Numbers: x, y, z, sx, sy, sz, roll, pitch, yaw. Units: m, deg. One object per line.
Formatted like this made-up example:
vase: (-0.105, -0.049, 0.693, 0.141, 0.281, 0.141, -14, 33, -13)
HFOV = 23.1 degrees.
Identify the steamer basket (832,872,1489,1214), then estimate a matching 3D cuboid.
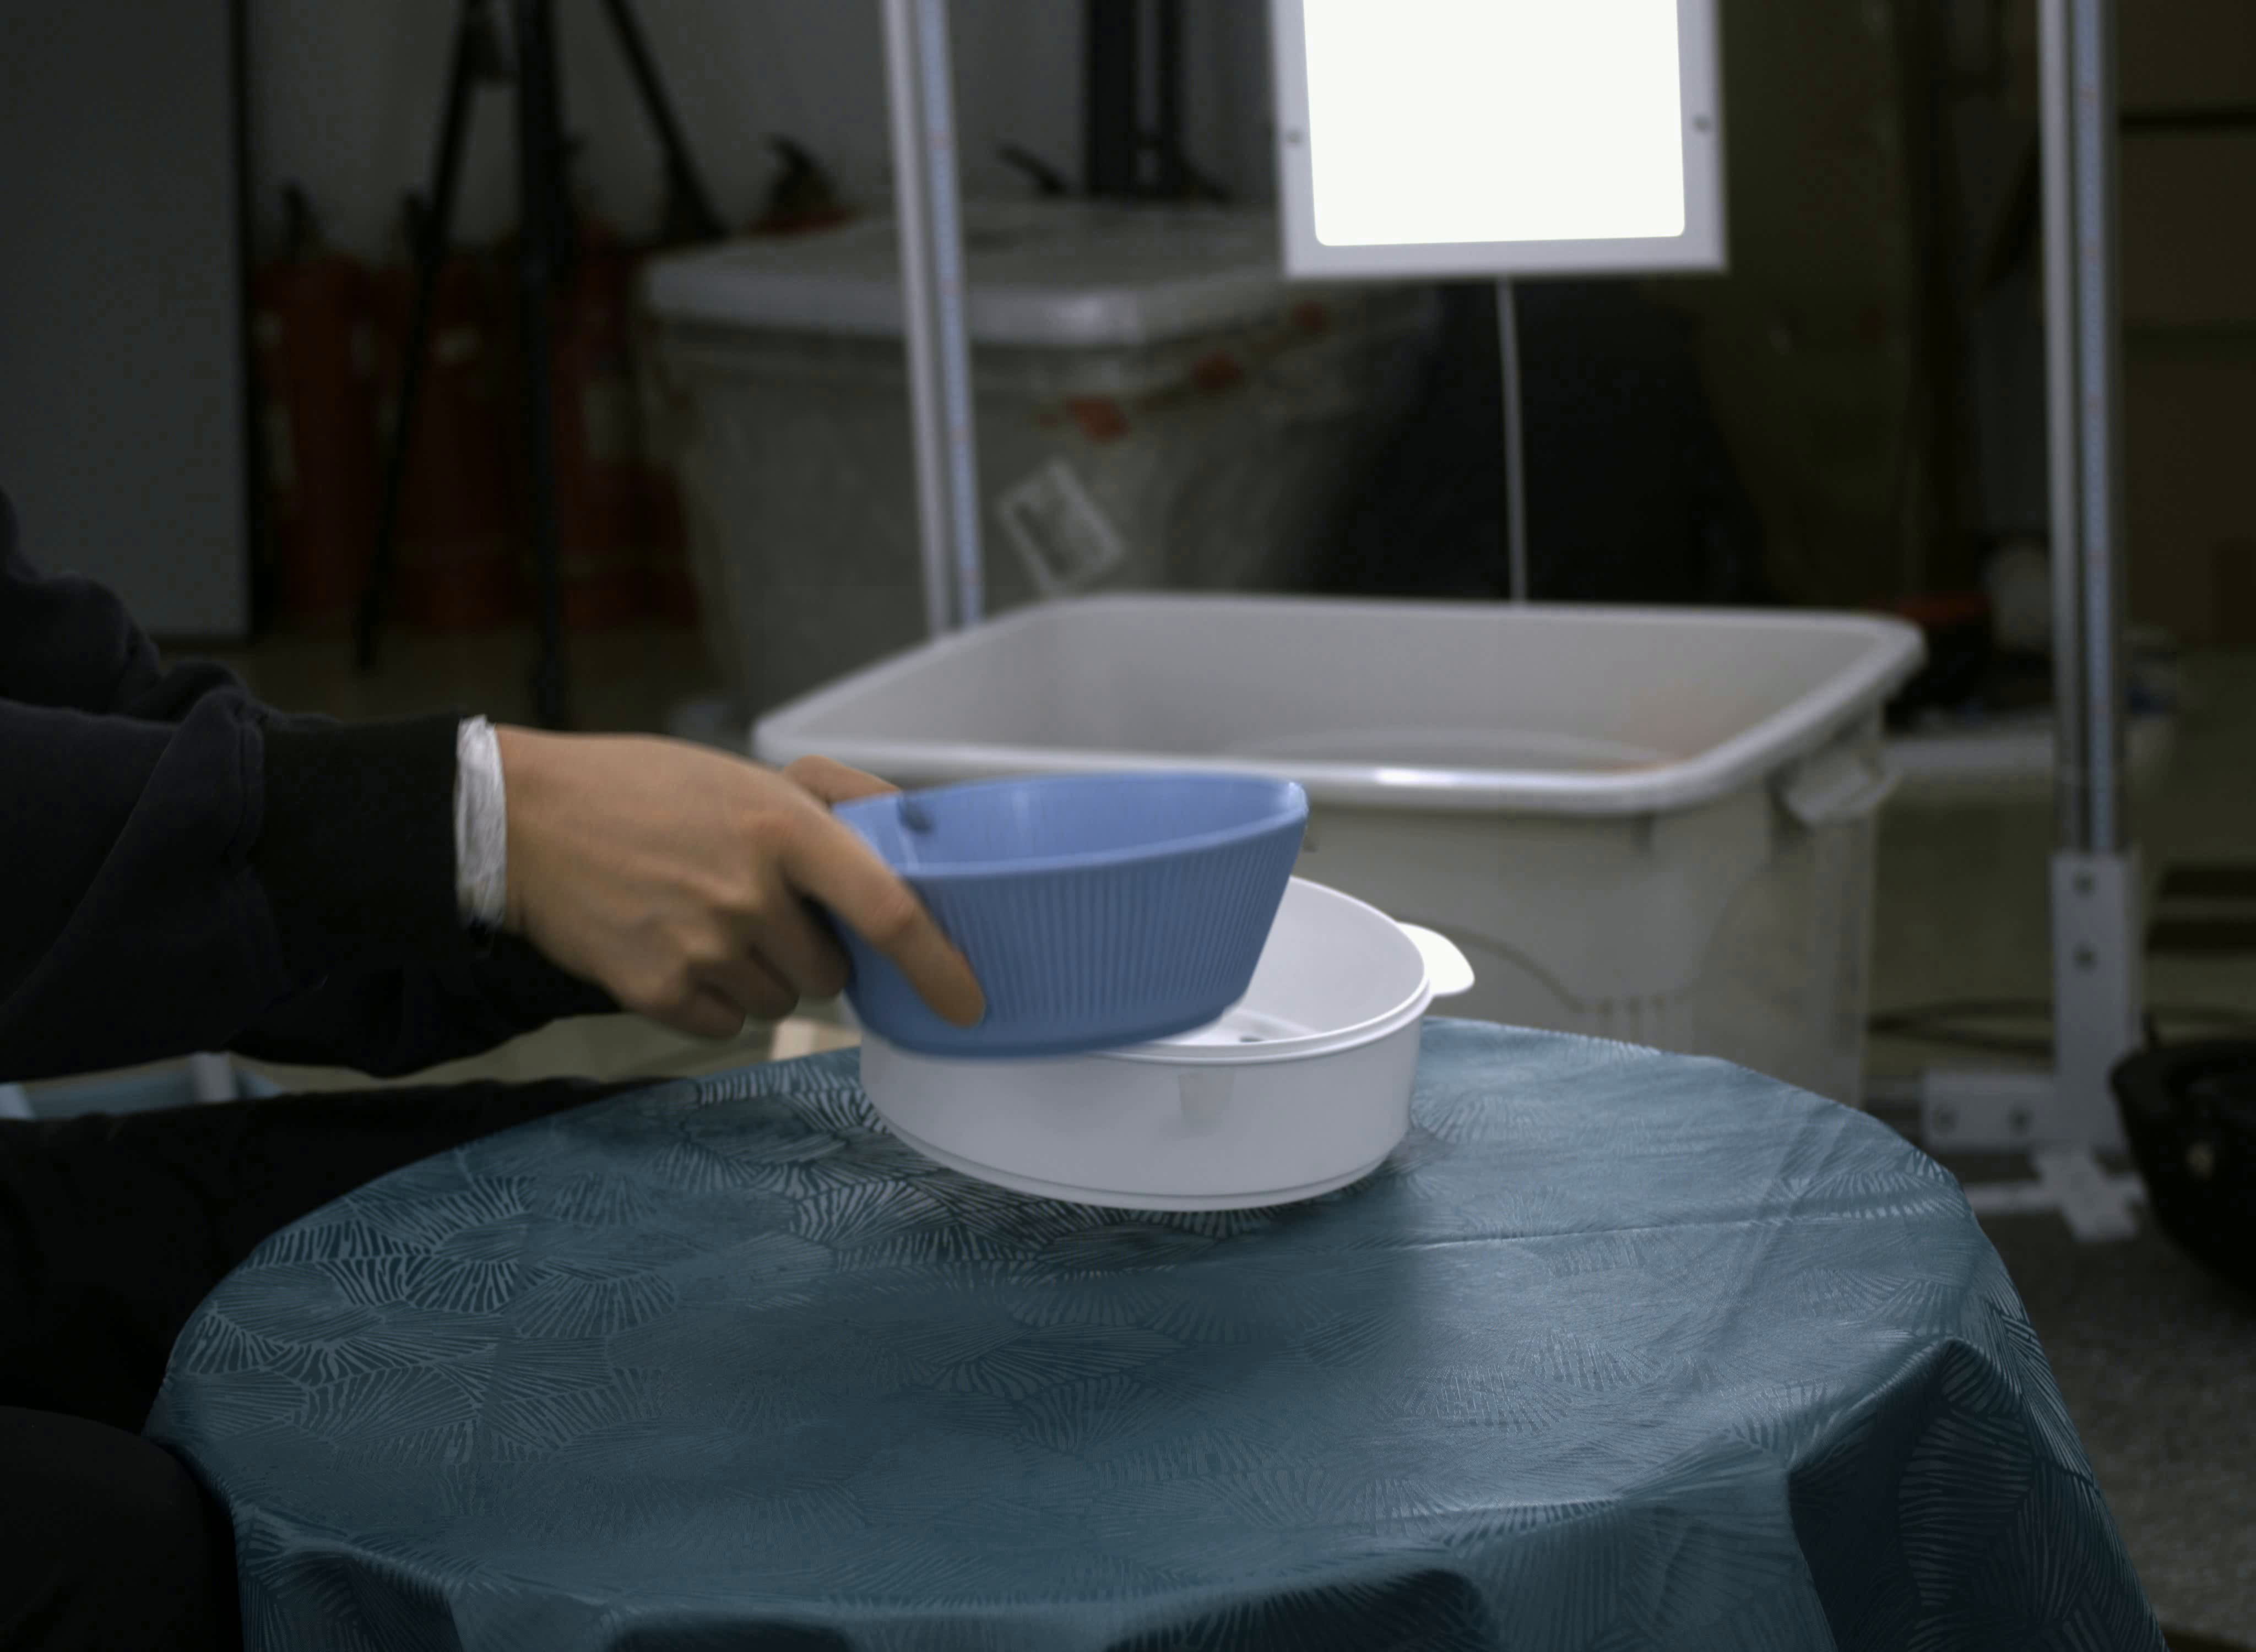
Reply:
steamer basket: (0.009, 0.070, 1.912, 0.228, 0.070, 0.203, 2, 19, -12)

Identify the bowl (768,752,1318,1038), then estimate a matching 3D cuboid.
bowl: (-0.024, 0.023, 1.735, 0.175, 0.070, 0.176, -6, 8, -1)
